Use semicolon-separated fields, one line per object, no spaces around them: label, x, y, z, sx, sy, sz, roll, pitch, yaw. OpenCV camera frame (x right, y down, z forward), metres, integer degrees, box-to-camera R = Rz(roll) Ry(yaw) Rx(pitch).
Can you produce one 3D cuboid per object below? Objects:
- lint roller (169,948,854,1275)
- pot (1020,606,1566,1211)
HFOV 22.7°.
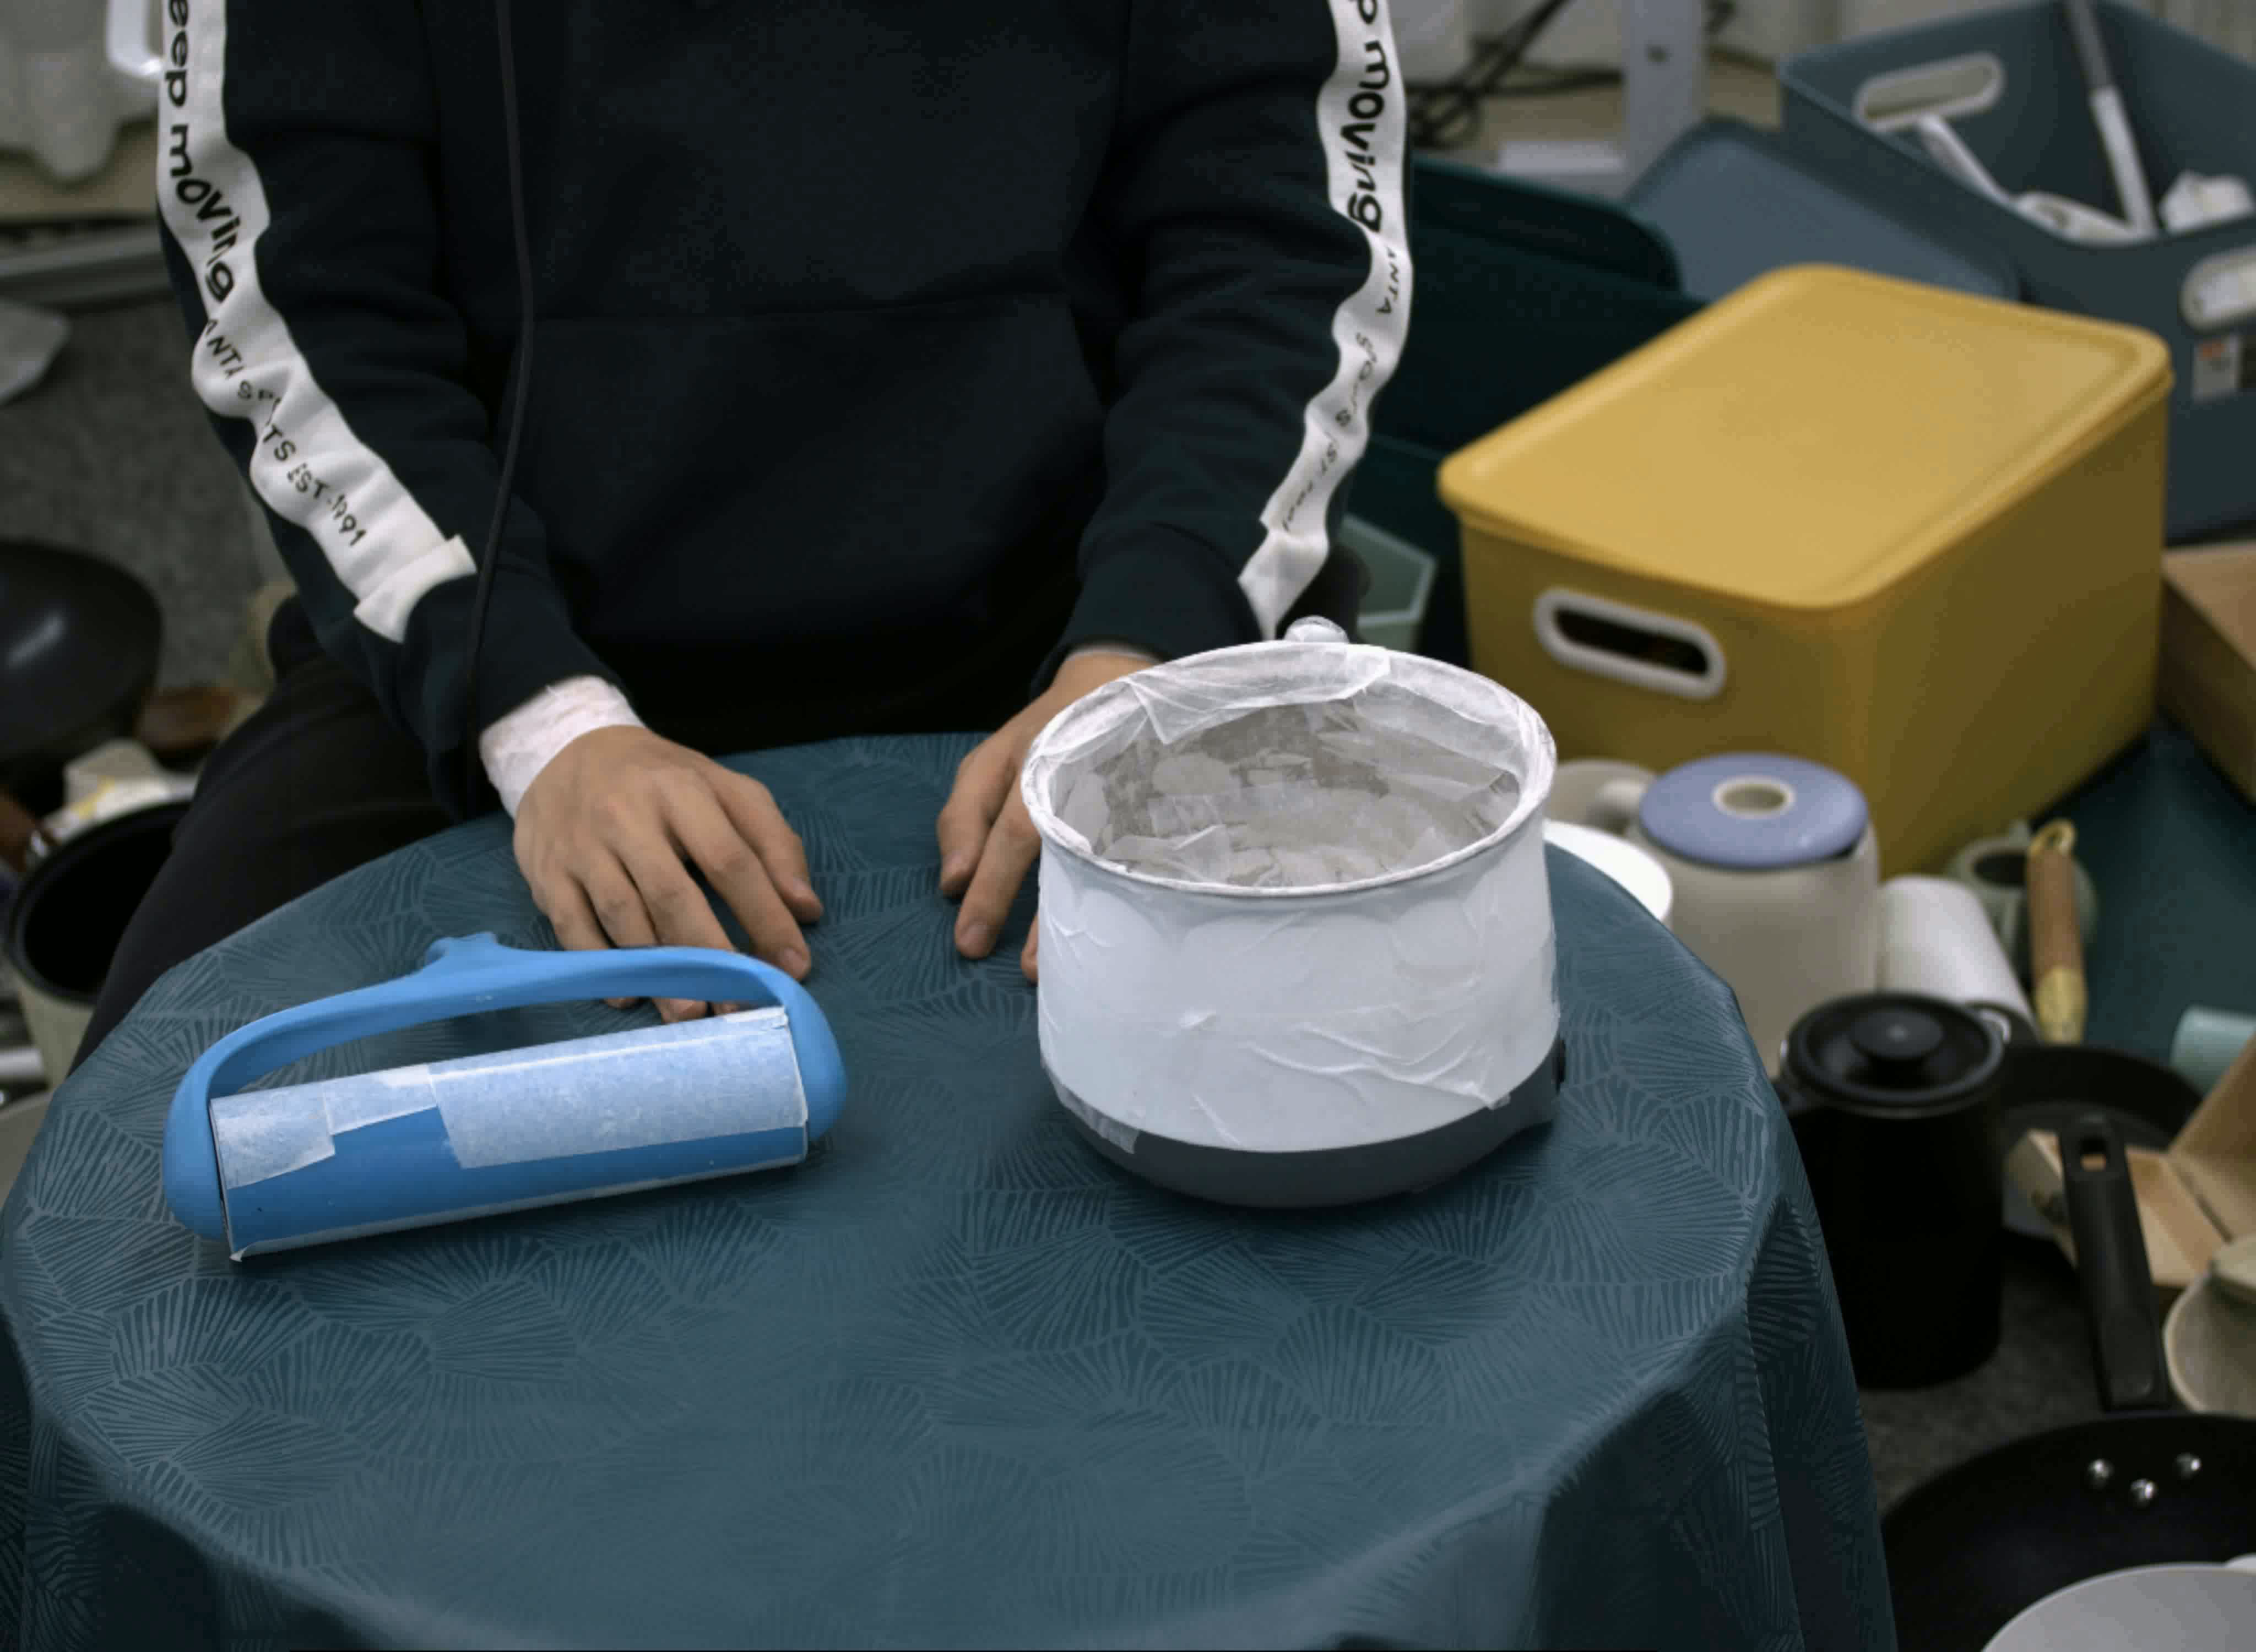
lint roller;-0.220;0.077;1.908;0.229;0.067;0.182;-12;29;-14
pot;0.058;0.020;1.897;0.177;0.135;0.237;0;29;6
